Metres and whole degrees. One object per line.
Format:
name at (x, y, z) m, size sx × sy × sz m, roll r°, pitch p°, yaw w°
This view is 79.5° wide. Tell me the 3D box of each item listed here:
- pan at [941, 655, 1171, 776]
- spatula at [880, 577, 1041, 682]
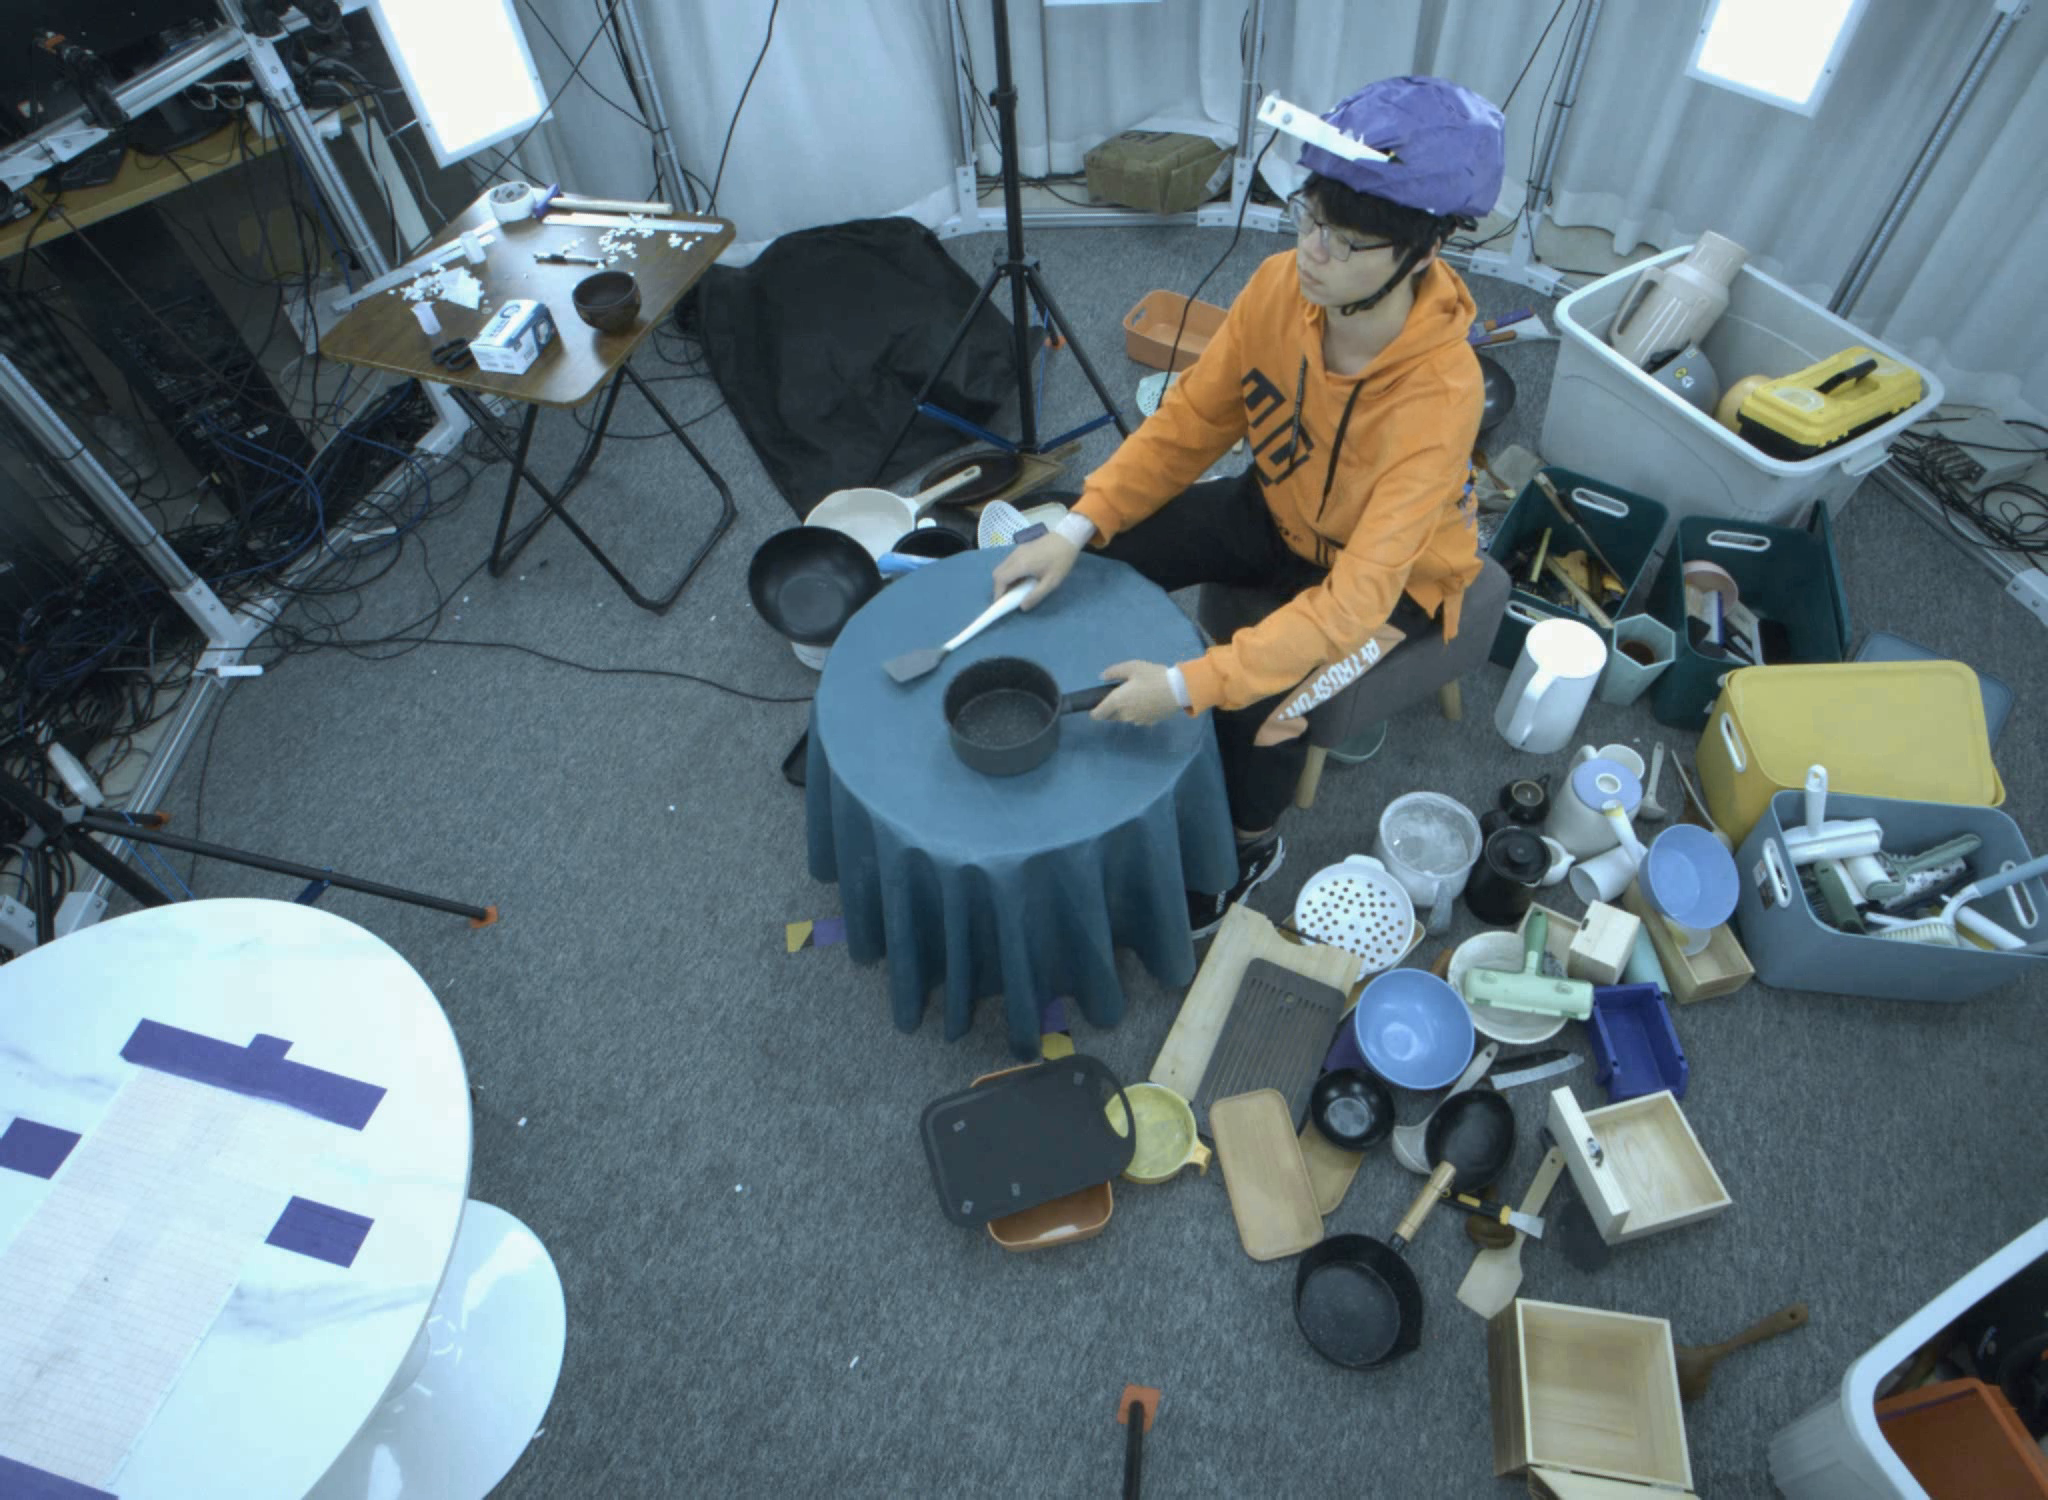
pan at (0.048, -0.057, 1.773) m, size 0.328 × 0.087 × 0.170 m, roll -5°, pitch 55°, yaw 1°
spatula at (-0.094, -0.185, 1.902) m, size 0.290 × 0.032 × 0.057 m, roll -34°, pitch 63°, yaw -21°
